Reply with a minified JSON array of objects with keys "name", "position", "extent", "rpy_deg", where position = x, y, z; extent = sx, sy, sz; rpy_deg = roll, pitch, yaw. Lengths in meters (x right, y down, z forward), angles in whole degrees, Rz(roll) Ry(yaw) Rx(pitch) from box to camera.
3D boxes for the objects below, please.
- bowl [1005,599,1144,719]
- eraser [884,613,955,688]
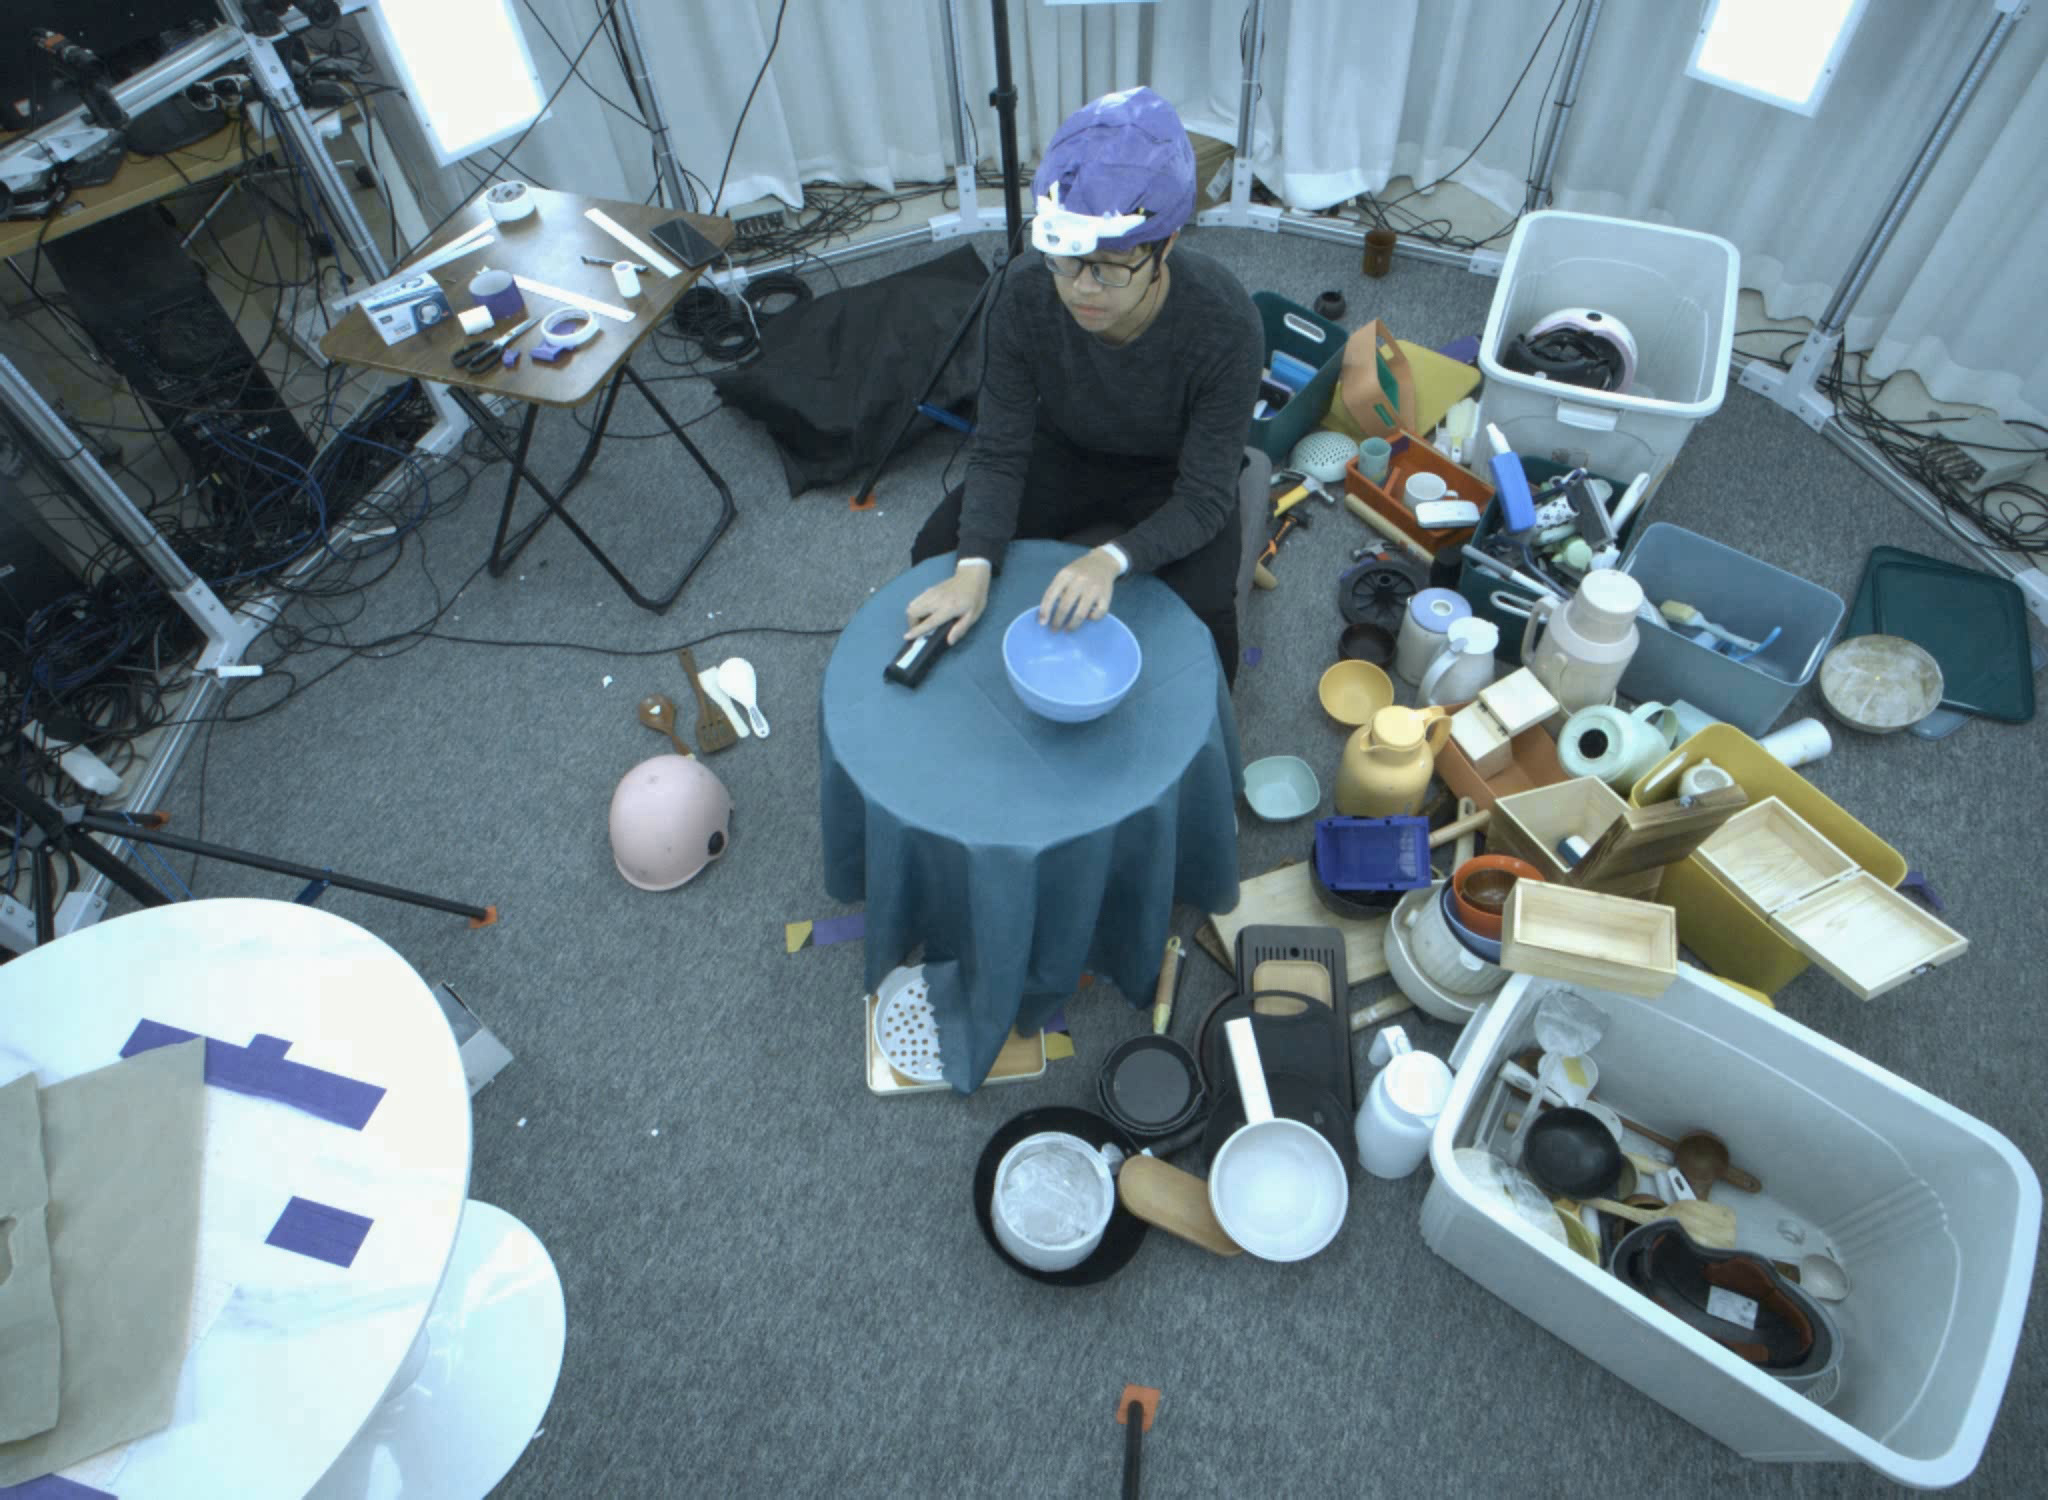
[{"name":"bowl","position":[0.072,-0.116,1.772],"extent":[0.197,0.096,0.194],"rpy_deg":[2,53,-1]},{"name":"eraser","position":[-0.159,-0.153,1.879],"extent":[0.052,0.031,0.126],"rpy_deg":[21,60,22]}]
